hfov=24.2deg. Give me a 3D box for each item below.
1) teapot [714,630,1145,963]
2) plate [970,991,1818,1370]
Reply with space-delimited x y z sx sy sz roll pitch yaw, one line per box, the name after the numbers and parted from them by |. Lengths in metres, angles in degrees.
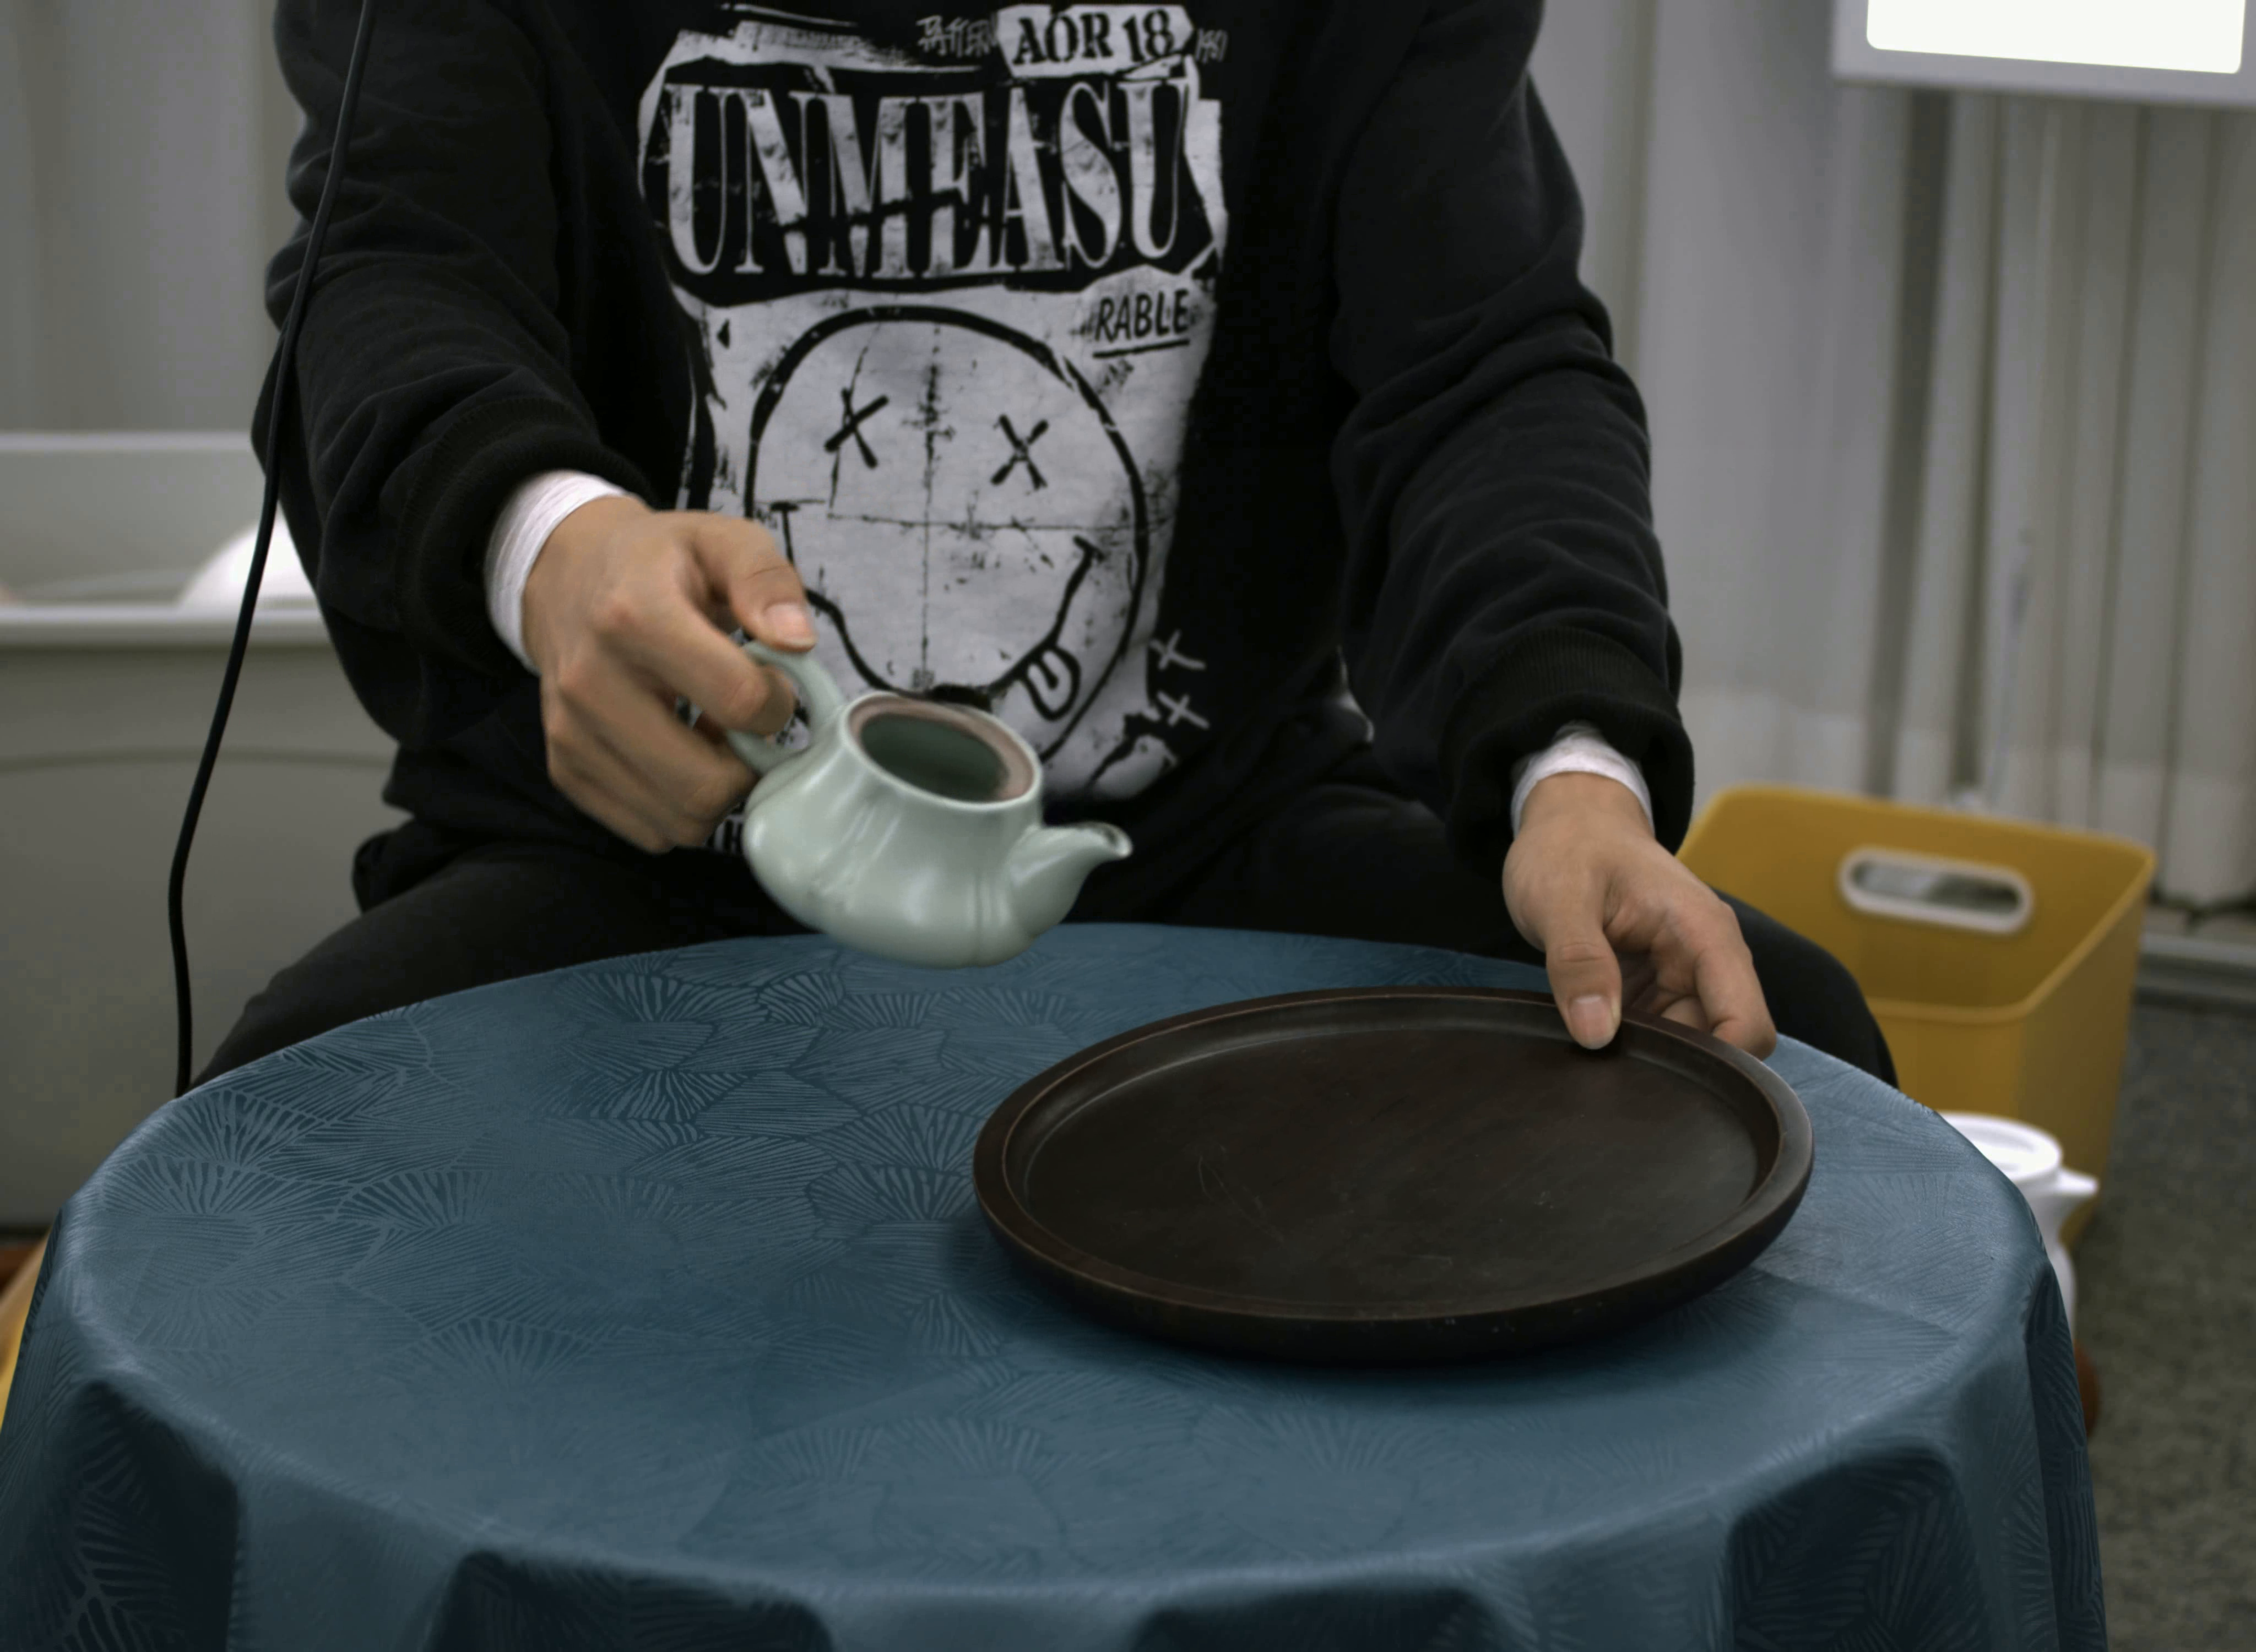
-0.064 -0.006 1.536 0.136 0.062 0.096 29 30 10 | teapot
0.079 0.103 1.577 0.254 0.029 0.253 -3 21 2 | plate
